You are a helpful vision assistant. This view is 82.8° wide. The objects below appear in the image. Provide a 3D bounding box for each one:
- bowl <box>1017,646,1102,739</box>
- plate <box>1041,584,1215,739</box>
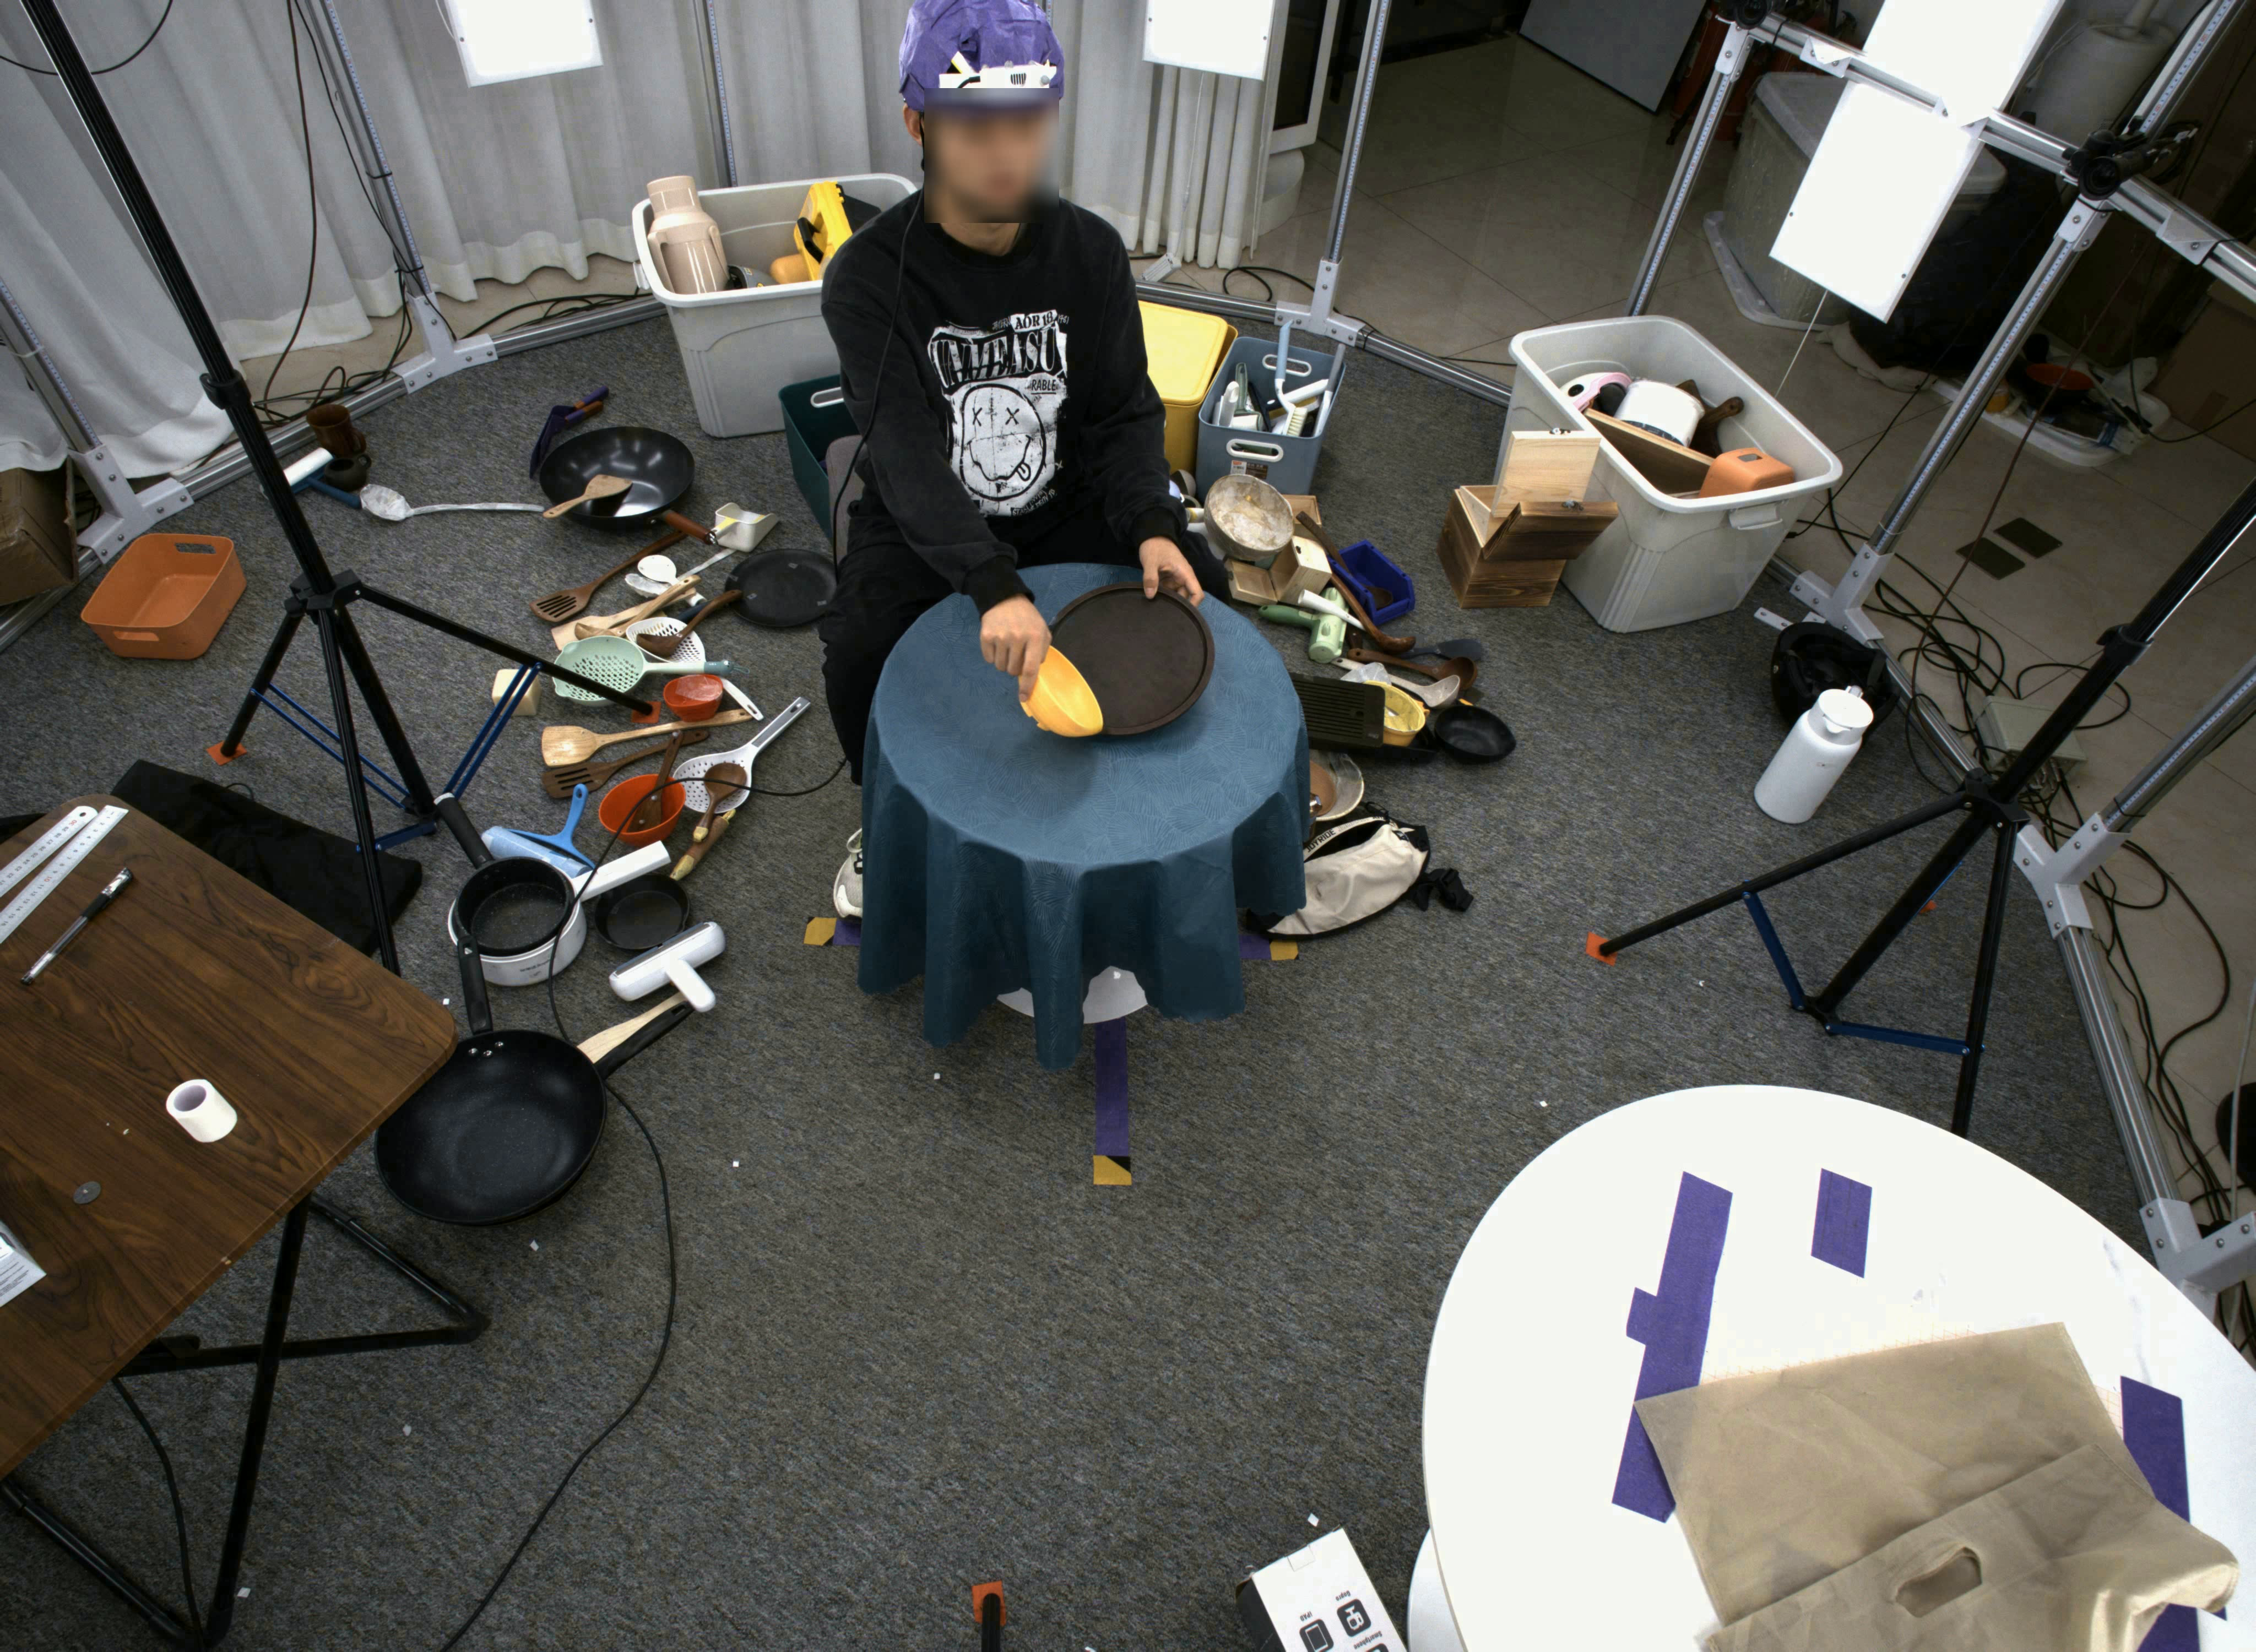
[{"bbox_3d":[-0.103,-0.168,1.722,0.059,0.143,0.149,-38,49,20],"label":"bowl"},{"bbox_3d":[-0.001,-0.235,1.829,0.255,0.028,0.260,-4,62,8],"label":"plate"}]
